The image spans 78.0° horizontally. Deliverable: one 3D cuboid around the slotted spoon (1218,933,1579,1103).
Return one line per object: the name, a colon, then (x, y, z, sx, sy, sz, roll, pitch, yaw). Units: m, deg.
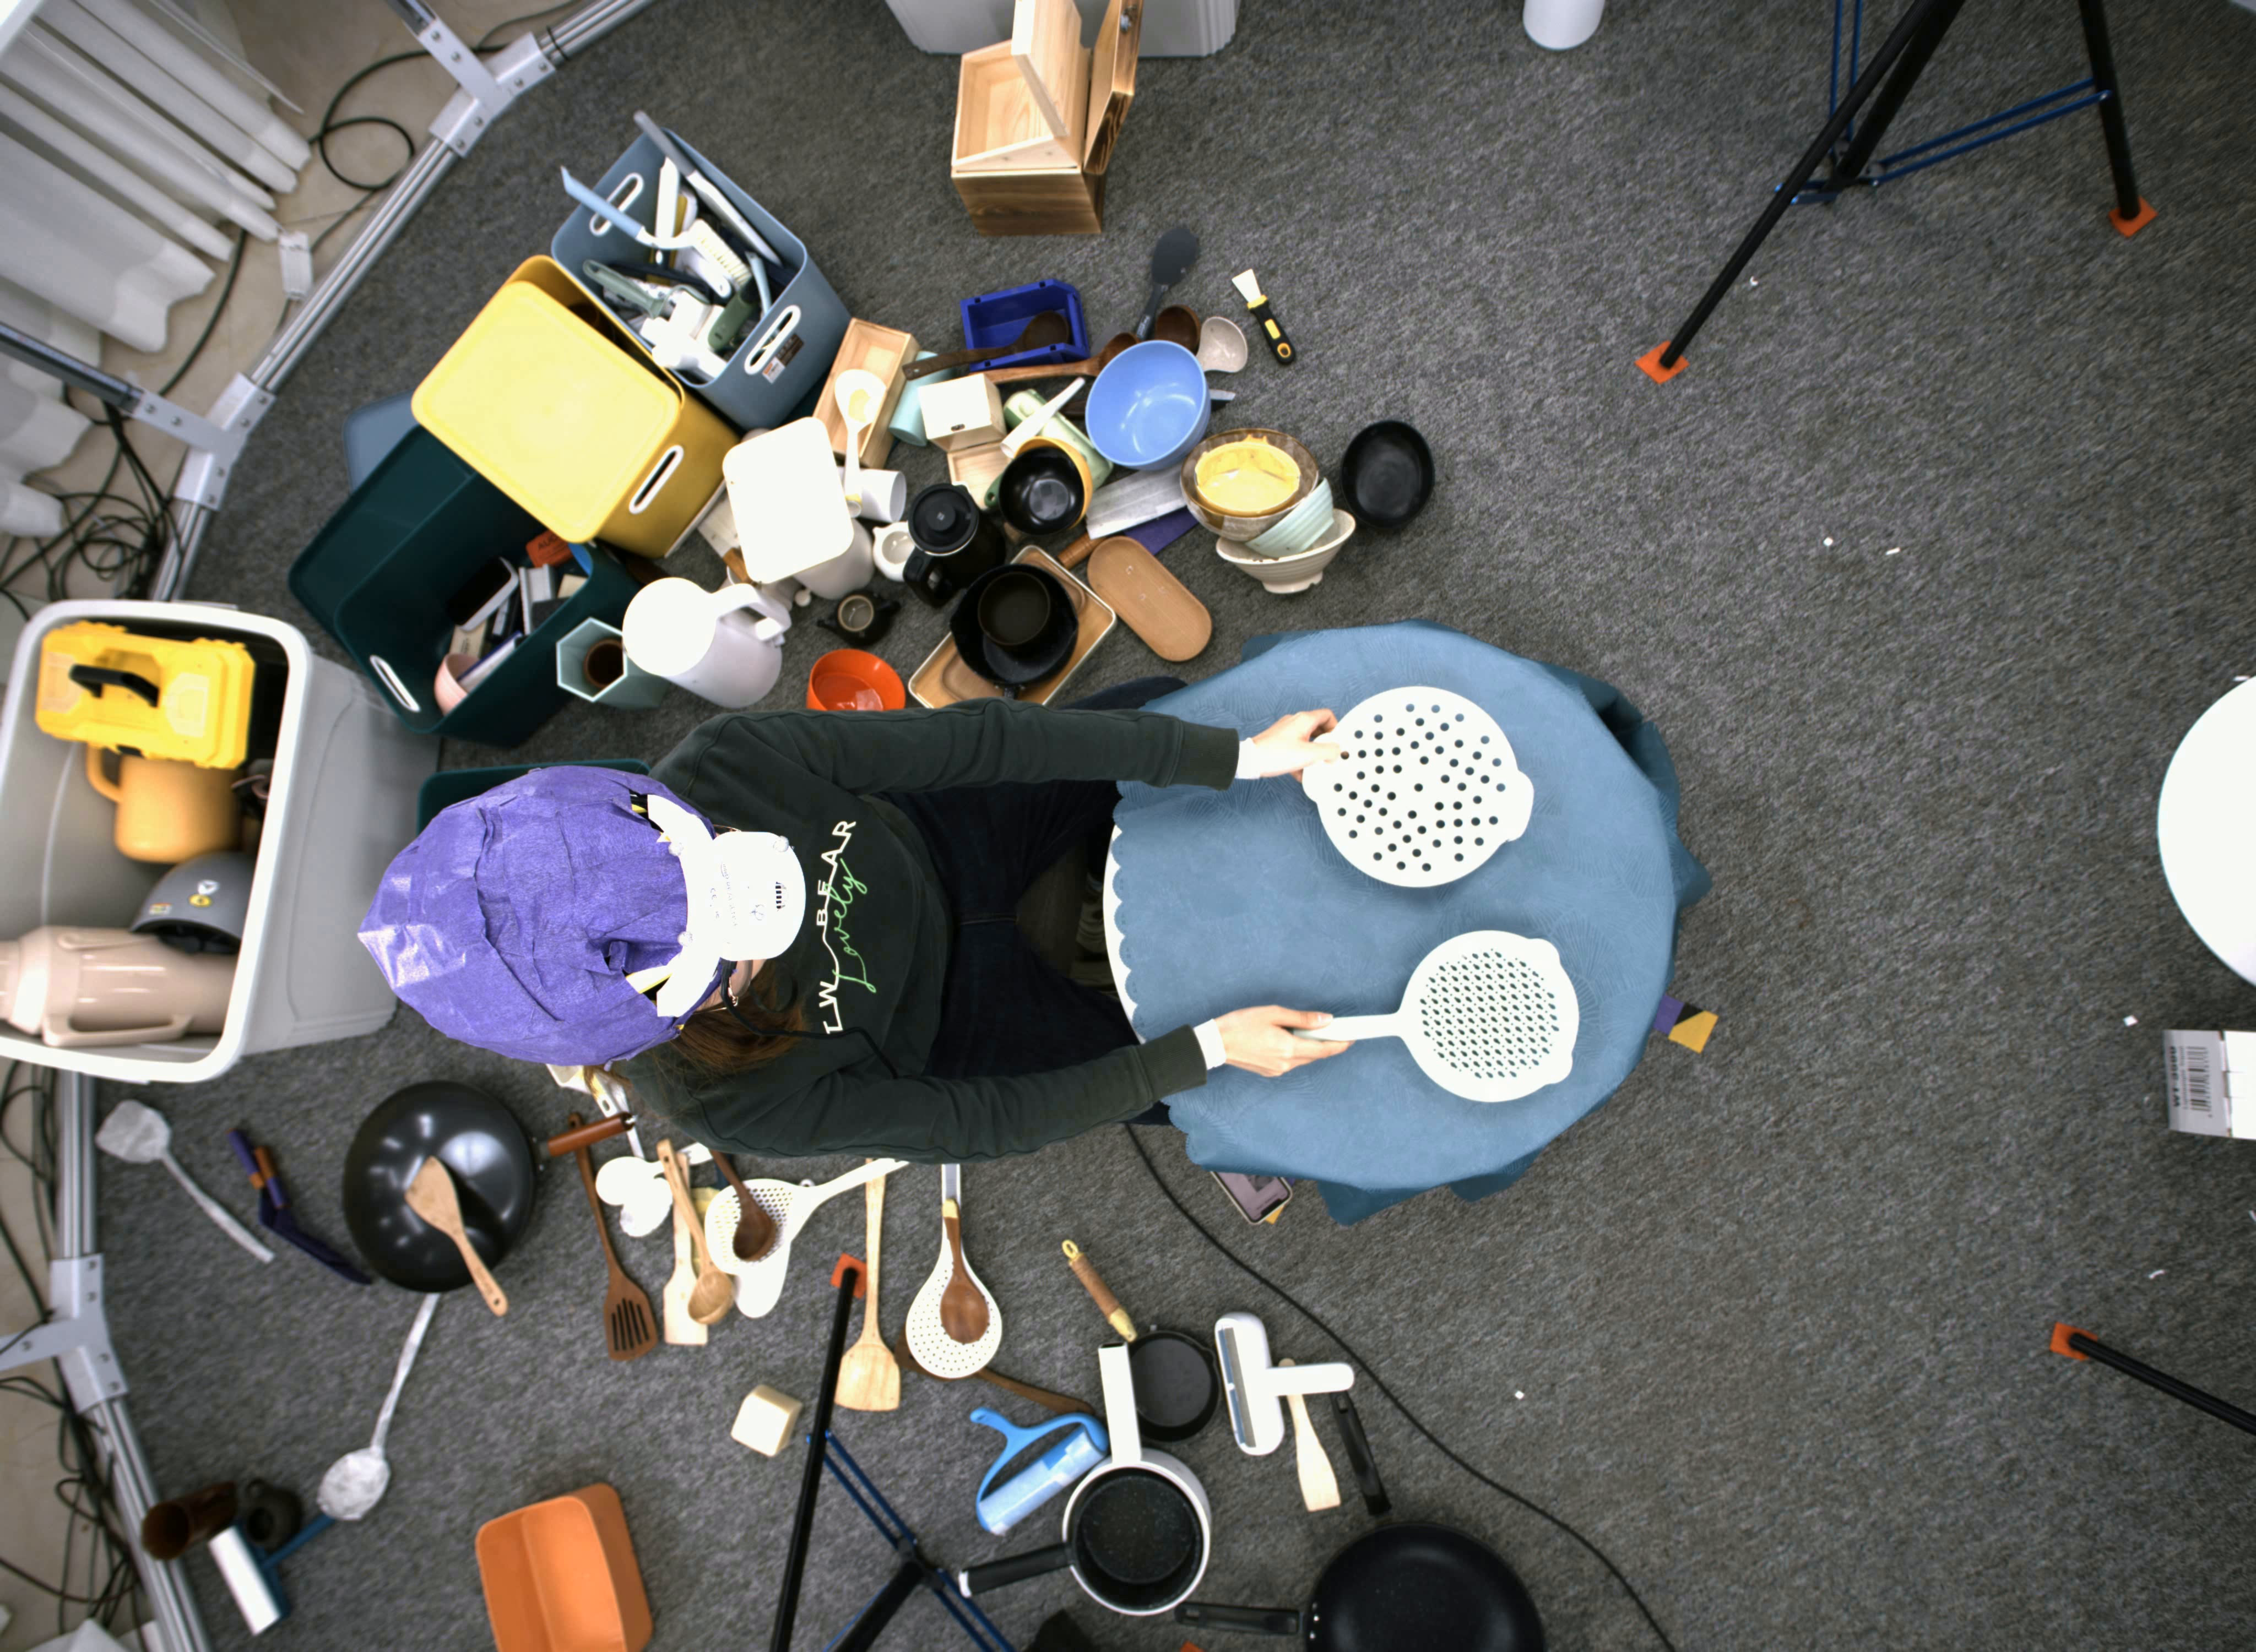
slotted spoon: (0.270, 0.202, 1.408, 0.360, 0.075, 0.168, -6, 83, 5)

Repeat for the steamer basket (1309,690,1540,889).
steamer basket: (0.304, -0.038, 1.415, 0.231, 0.069, 0.202, 11, 95, 15)
